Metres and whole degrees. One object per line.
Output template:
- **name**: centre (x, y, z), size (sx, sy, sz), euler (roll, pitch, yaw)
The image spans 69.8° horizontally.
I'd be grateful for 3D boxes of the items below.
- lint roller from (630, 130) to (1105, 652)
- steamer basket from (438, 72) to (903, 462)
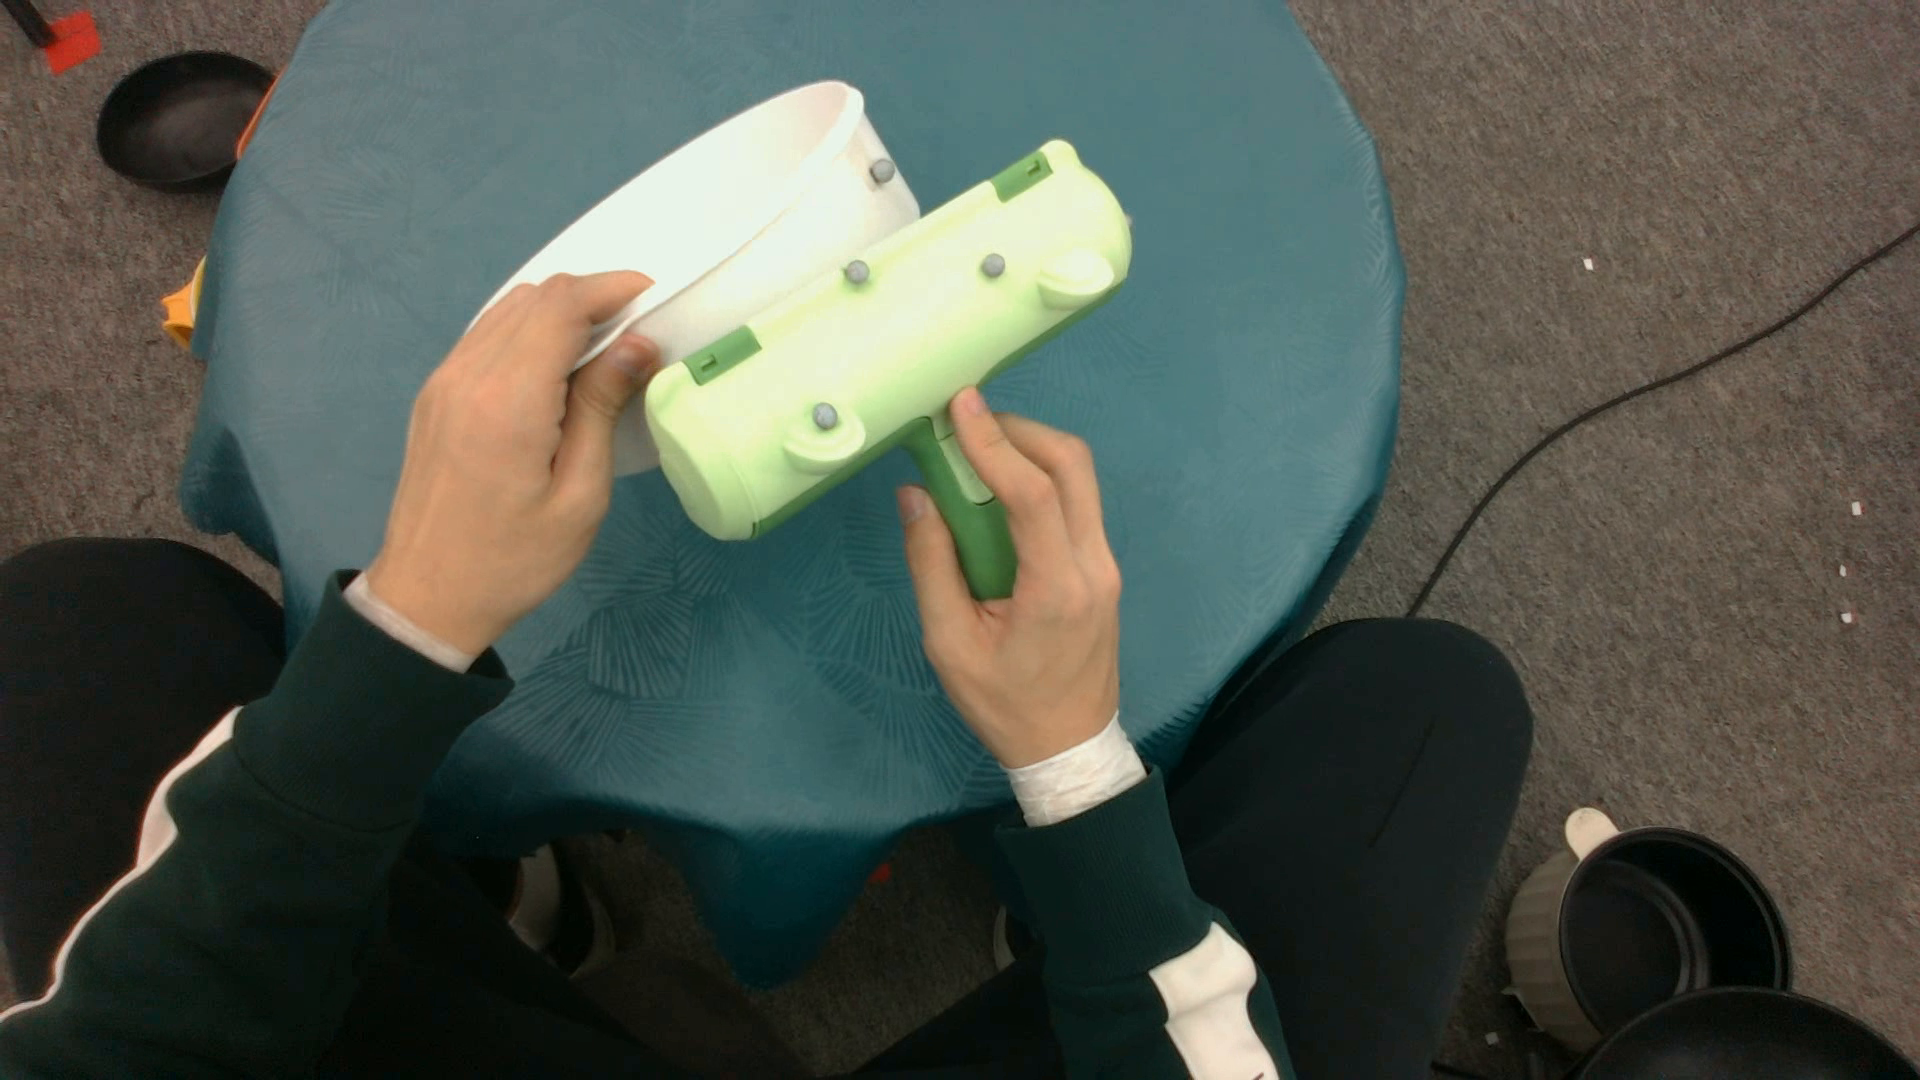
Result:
- **lint roller**: centre (0.002, -0.030, 0.516), size (0.199, 0.082, 0.183), euler (-38, 109, -25)
- **steamer basket**: centre (-0.120, -0.115, 0.589), size (0.201, 0.069, 0.232), euler (-19, 30, 28)
